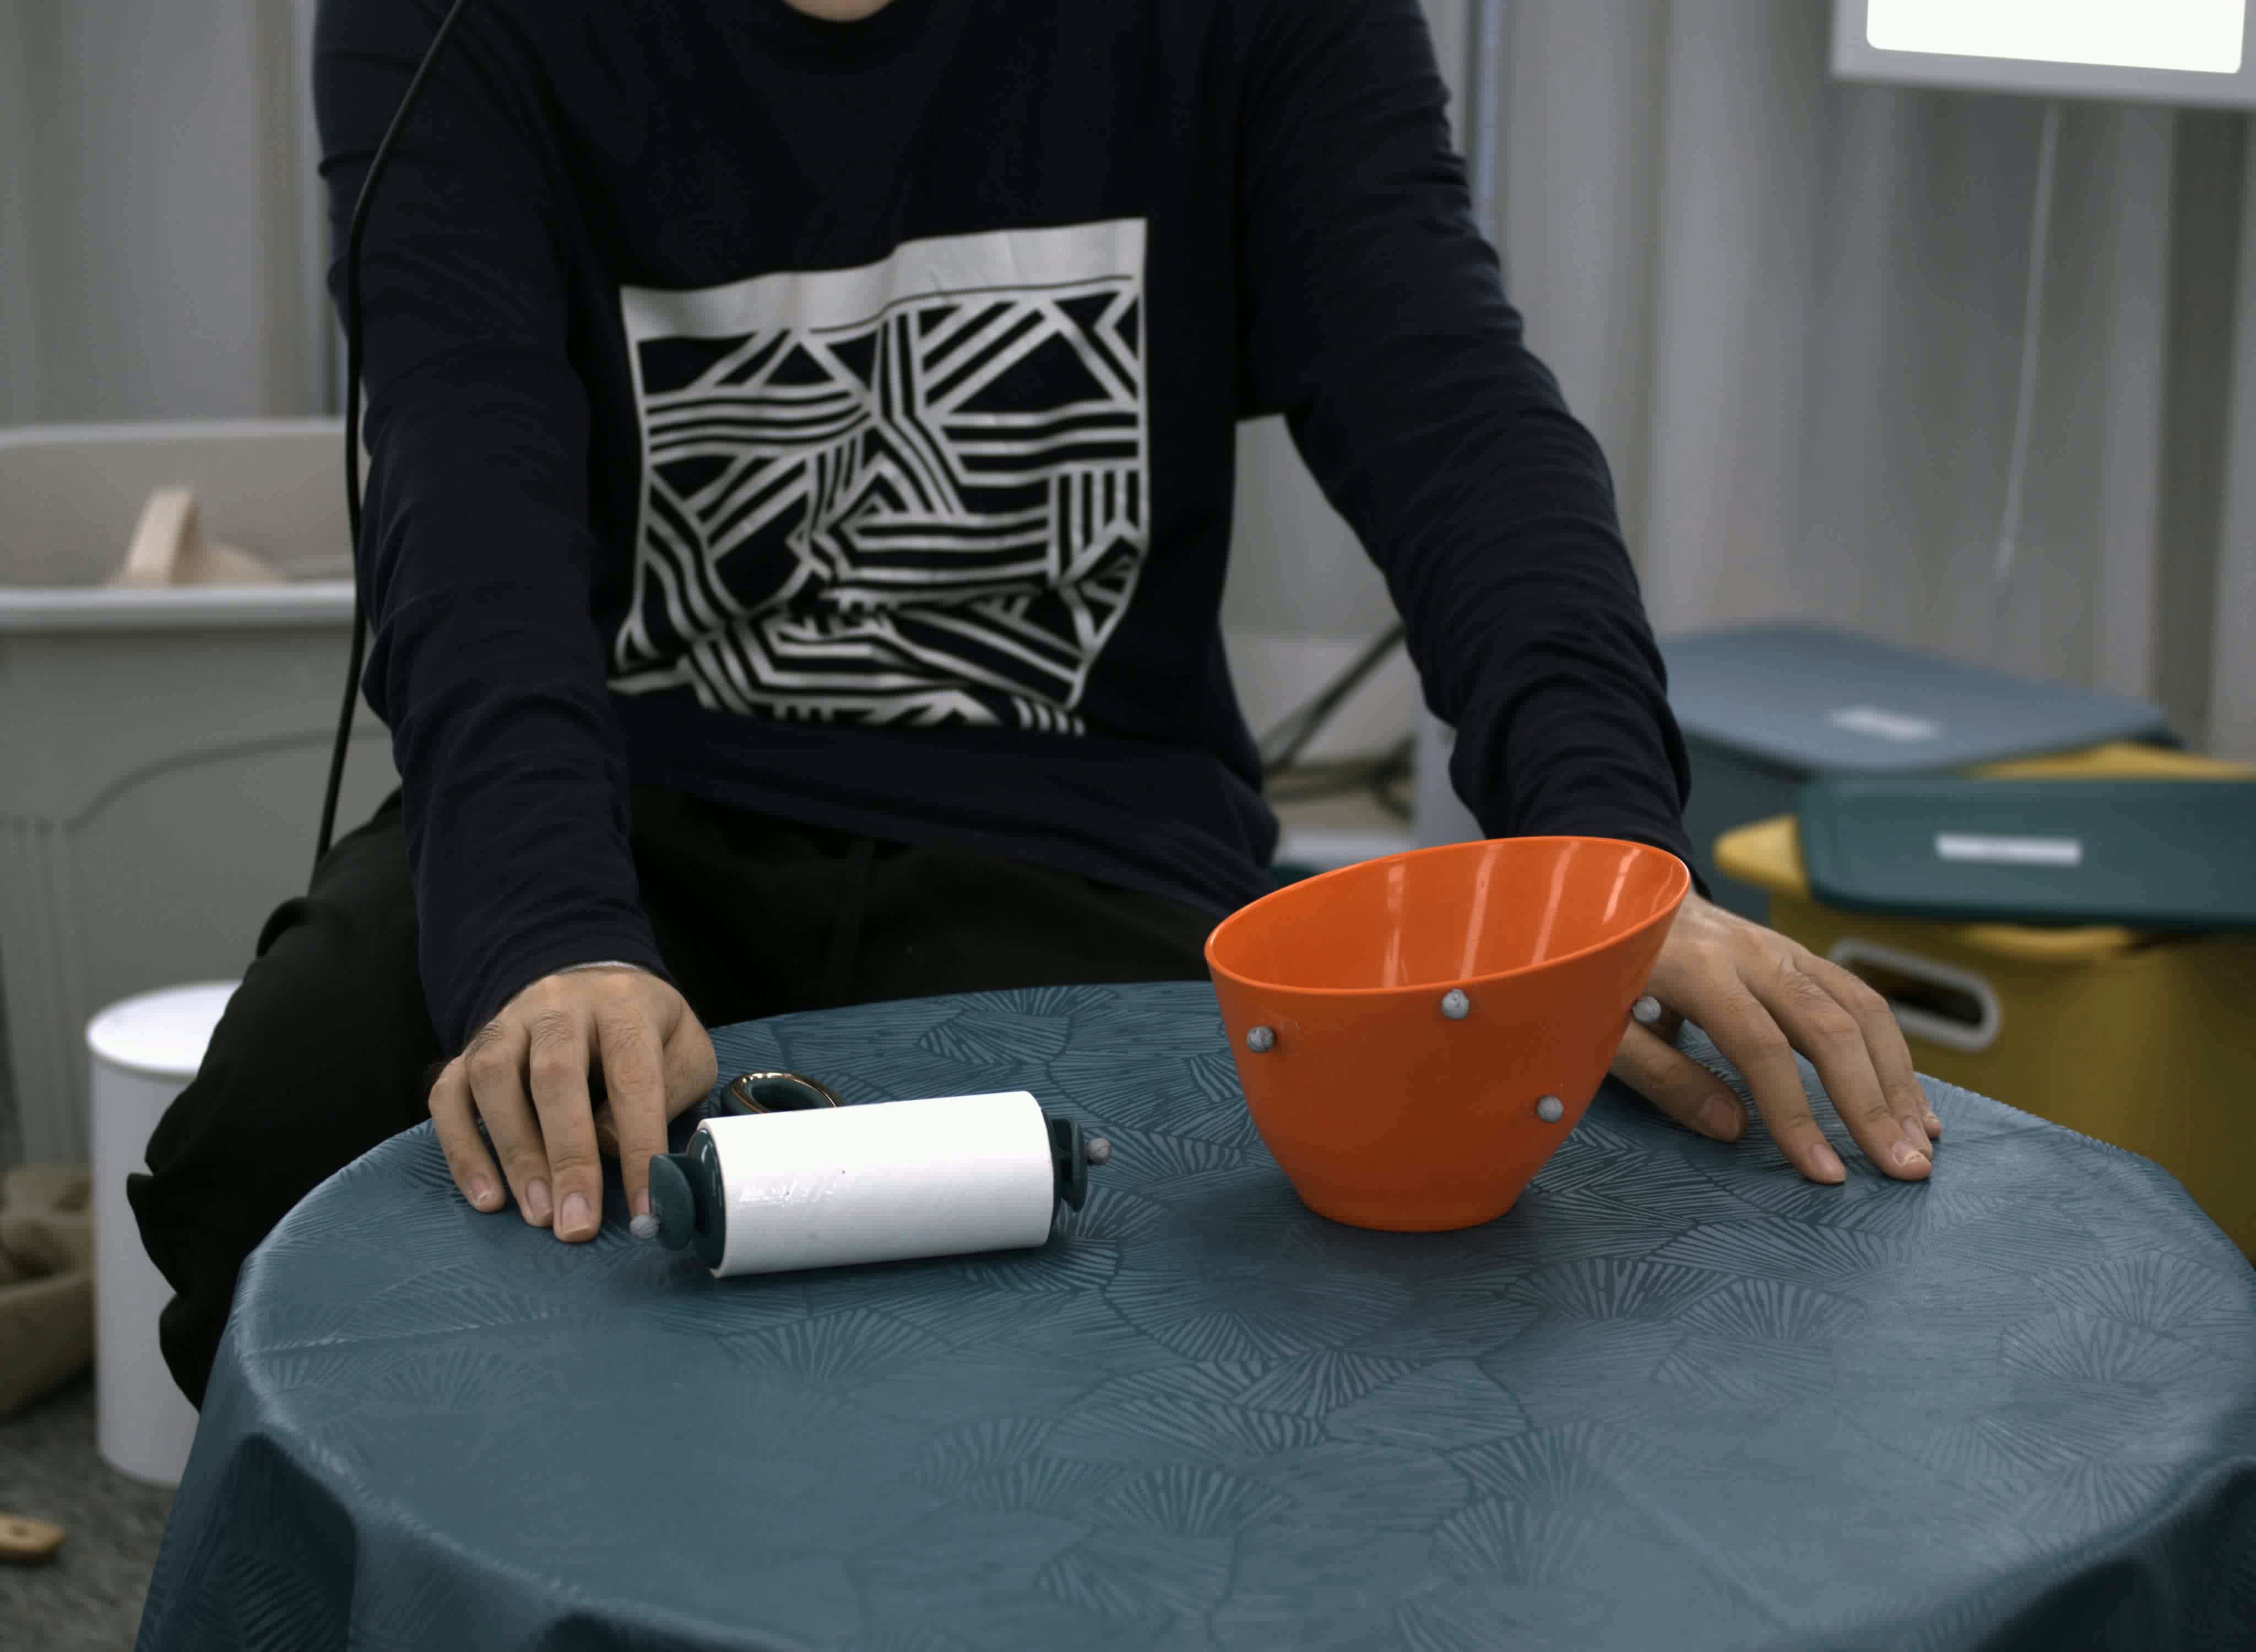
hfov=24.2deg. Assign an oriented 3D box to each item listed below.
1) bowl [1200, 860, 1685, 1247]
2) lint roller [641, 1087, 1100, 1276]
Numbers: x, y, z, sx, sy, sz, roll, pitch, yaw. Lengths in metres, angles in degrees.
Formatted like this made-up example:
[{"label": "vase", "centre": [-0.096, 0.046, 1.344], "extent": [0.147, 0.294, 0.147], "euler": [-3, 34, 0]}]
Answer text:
[{"label": "bowl", "centre": [0.095, 0.070, 1.609], "extent": [0.147, 0.105, 0.147], "euler": [0, 13, 1]}, {"label": "lint roller", "centre": [-0.095, 0.094, 1.620], "extent": [0.134, 0.048, 0.178], "euler": [-5, 12, -16]}]
